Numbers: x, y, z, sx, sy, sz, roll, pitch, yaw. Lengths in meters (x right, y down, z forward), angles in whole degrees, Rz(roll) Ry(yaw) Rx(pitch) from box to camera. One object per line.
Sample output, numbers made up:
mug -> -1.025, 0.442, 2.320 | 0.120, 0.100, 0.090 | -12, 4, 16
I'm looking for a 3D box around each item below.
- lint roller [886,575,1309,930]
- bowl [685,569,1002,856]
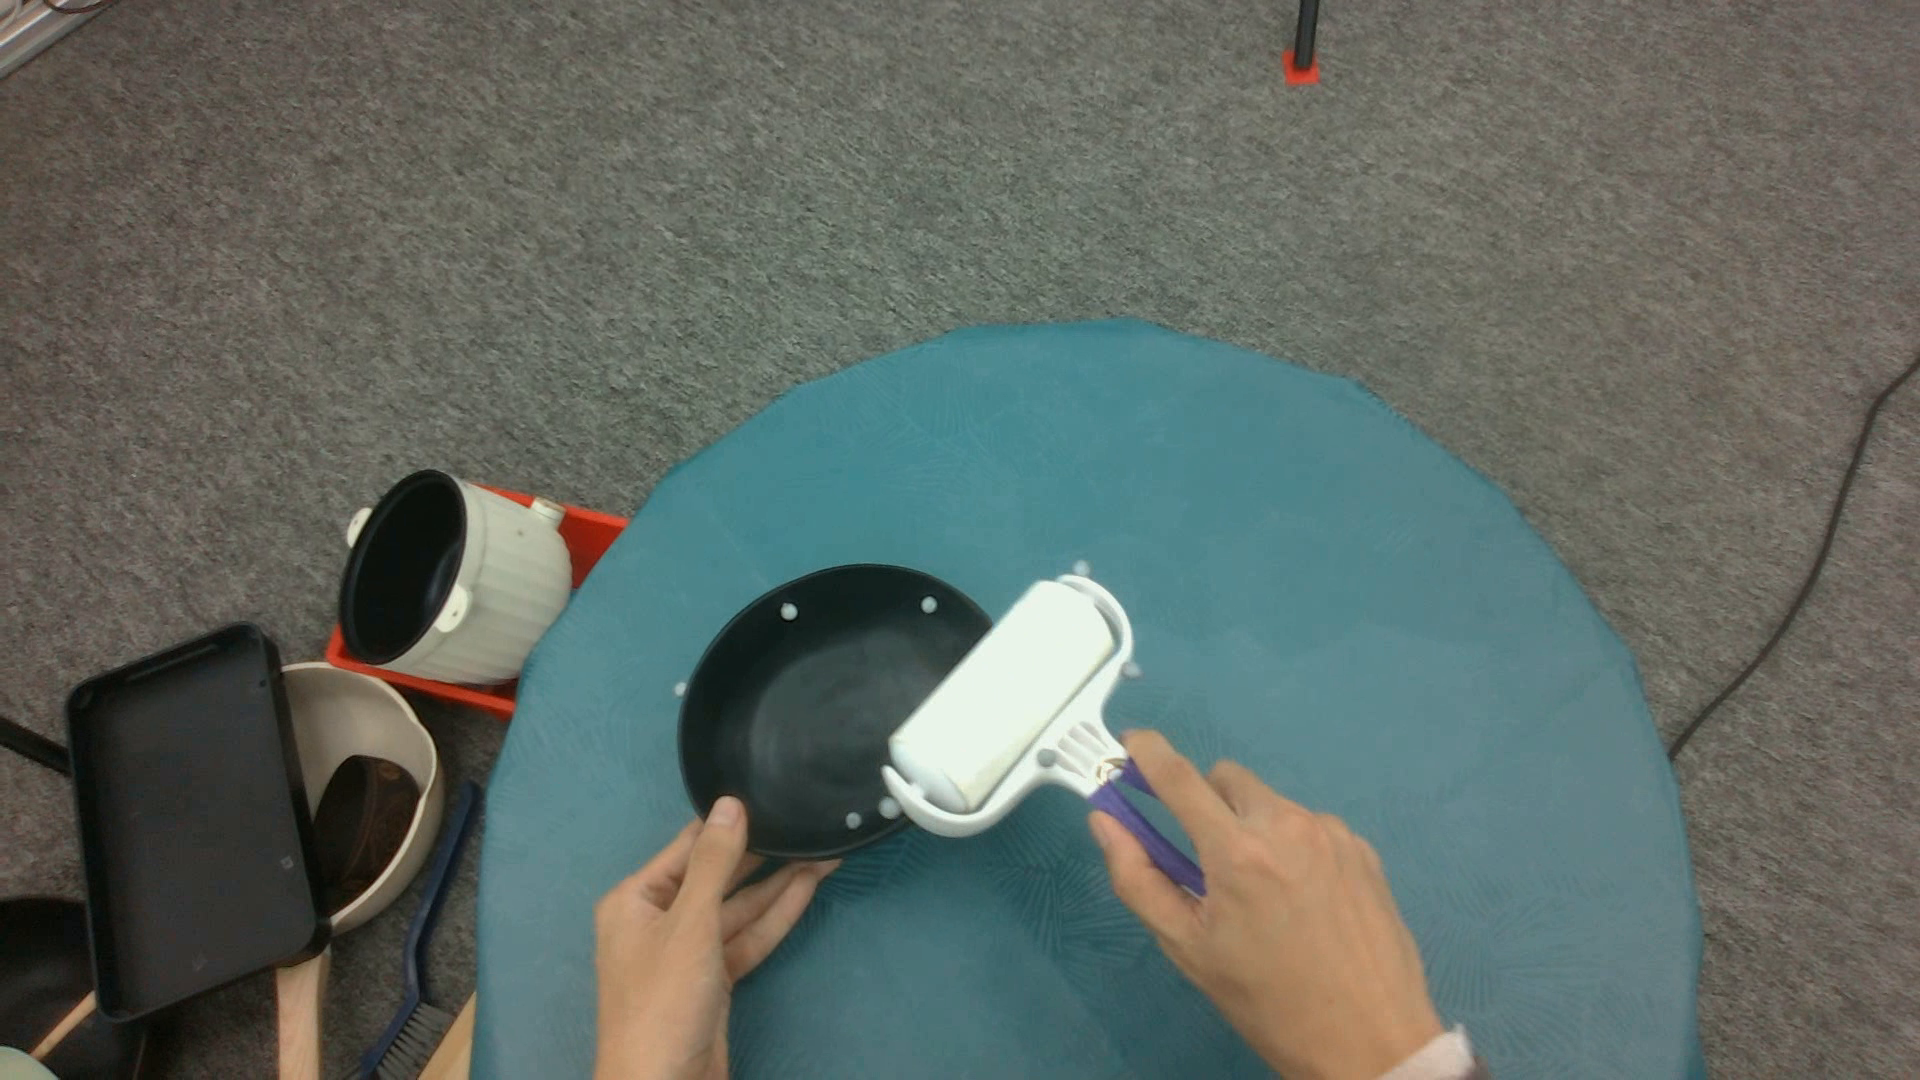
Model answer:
lint roller -> 0.067, 0.101, 0.581 | 0.181, 0.050, 0.133 | 34, 64, 29
bowl -> -0.054, 0.090, 0.700 | 0.170, 0.066, 0.137 | -35, 68, -14
